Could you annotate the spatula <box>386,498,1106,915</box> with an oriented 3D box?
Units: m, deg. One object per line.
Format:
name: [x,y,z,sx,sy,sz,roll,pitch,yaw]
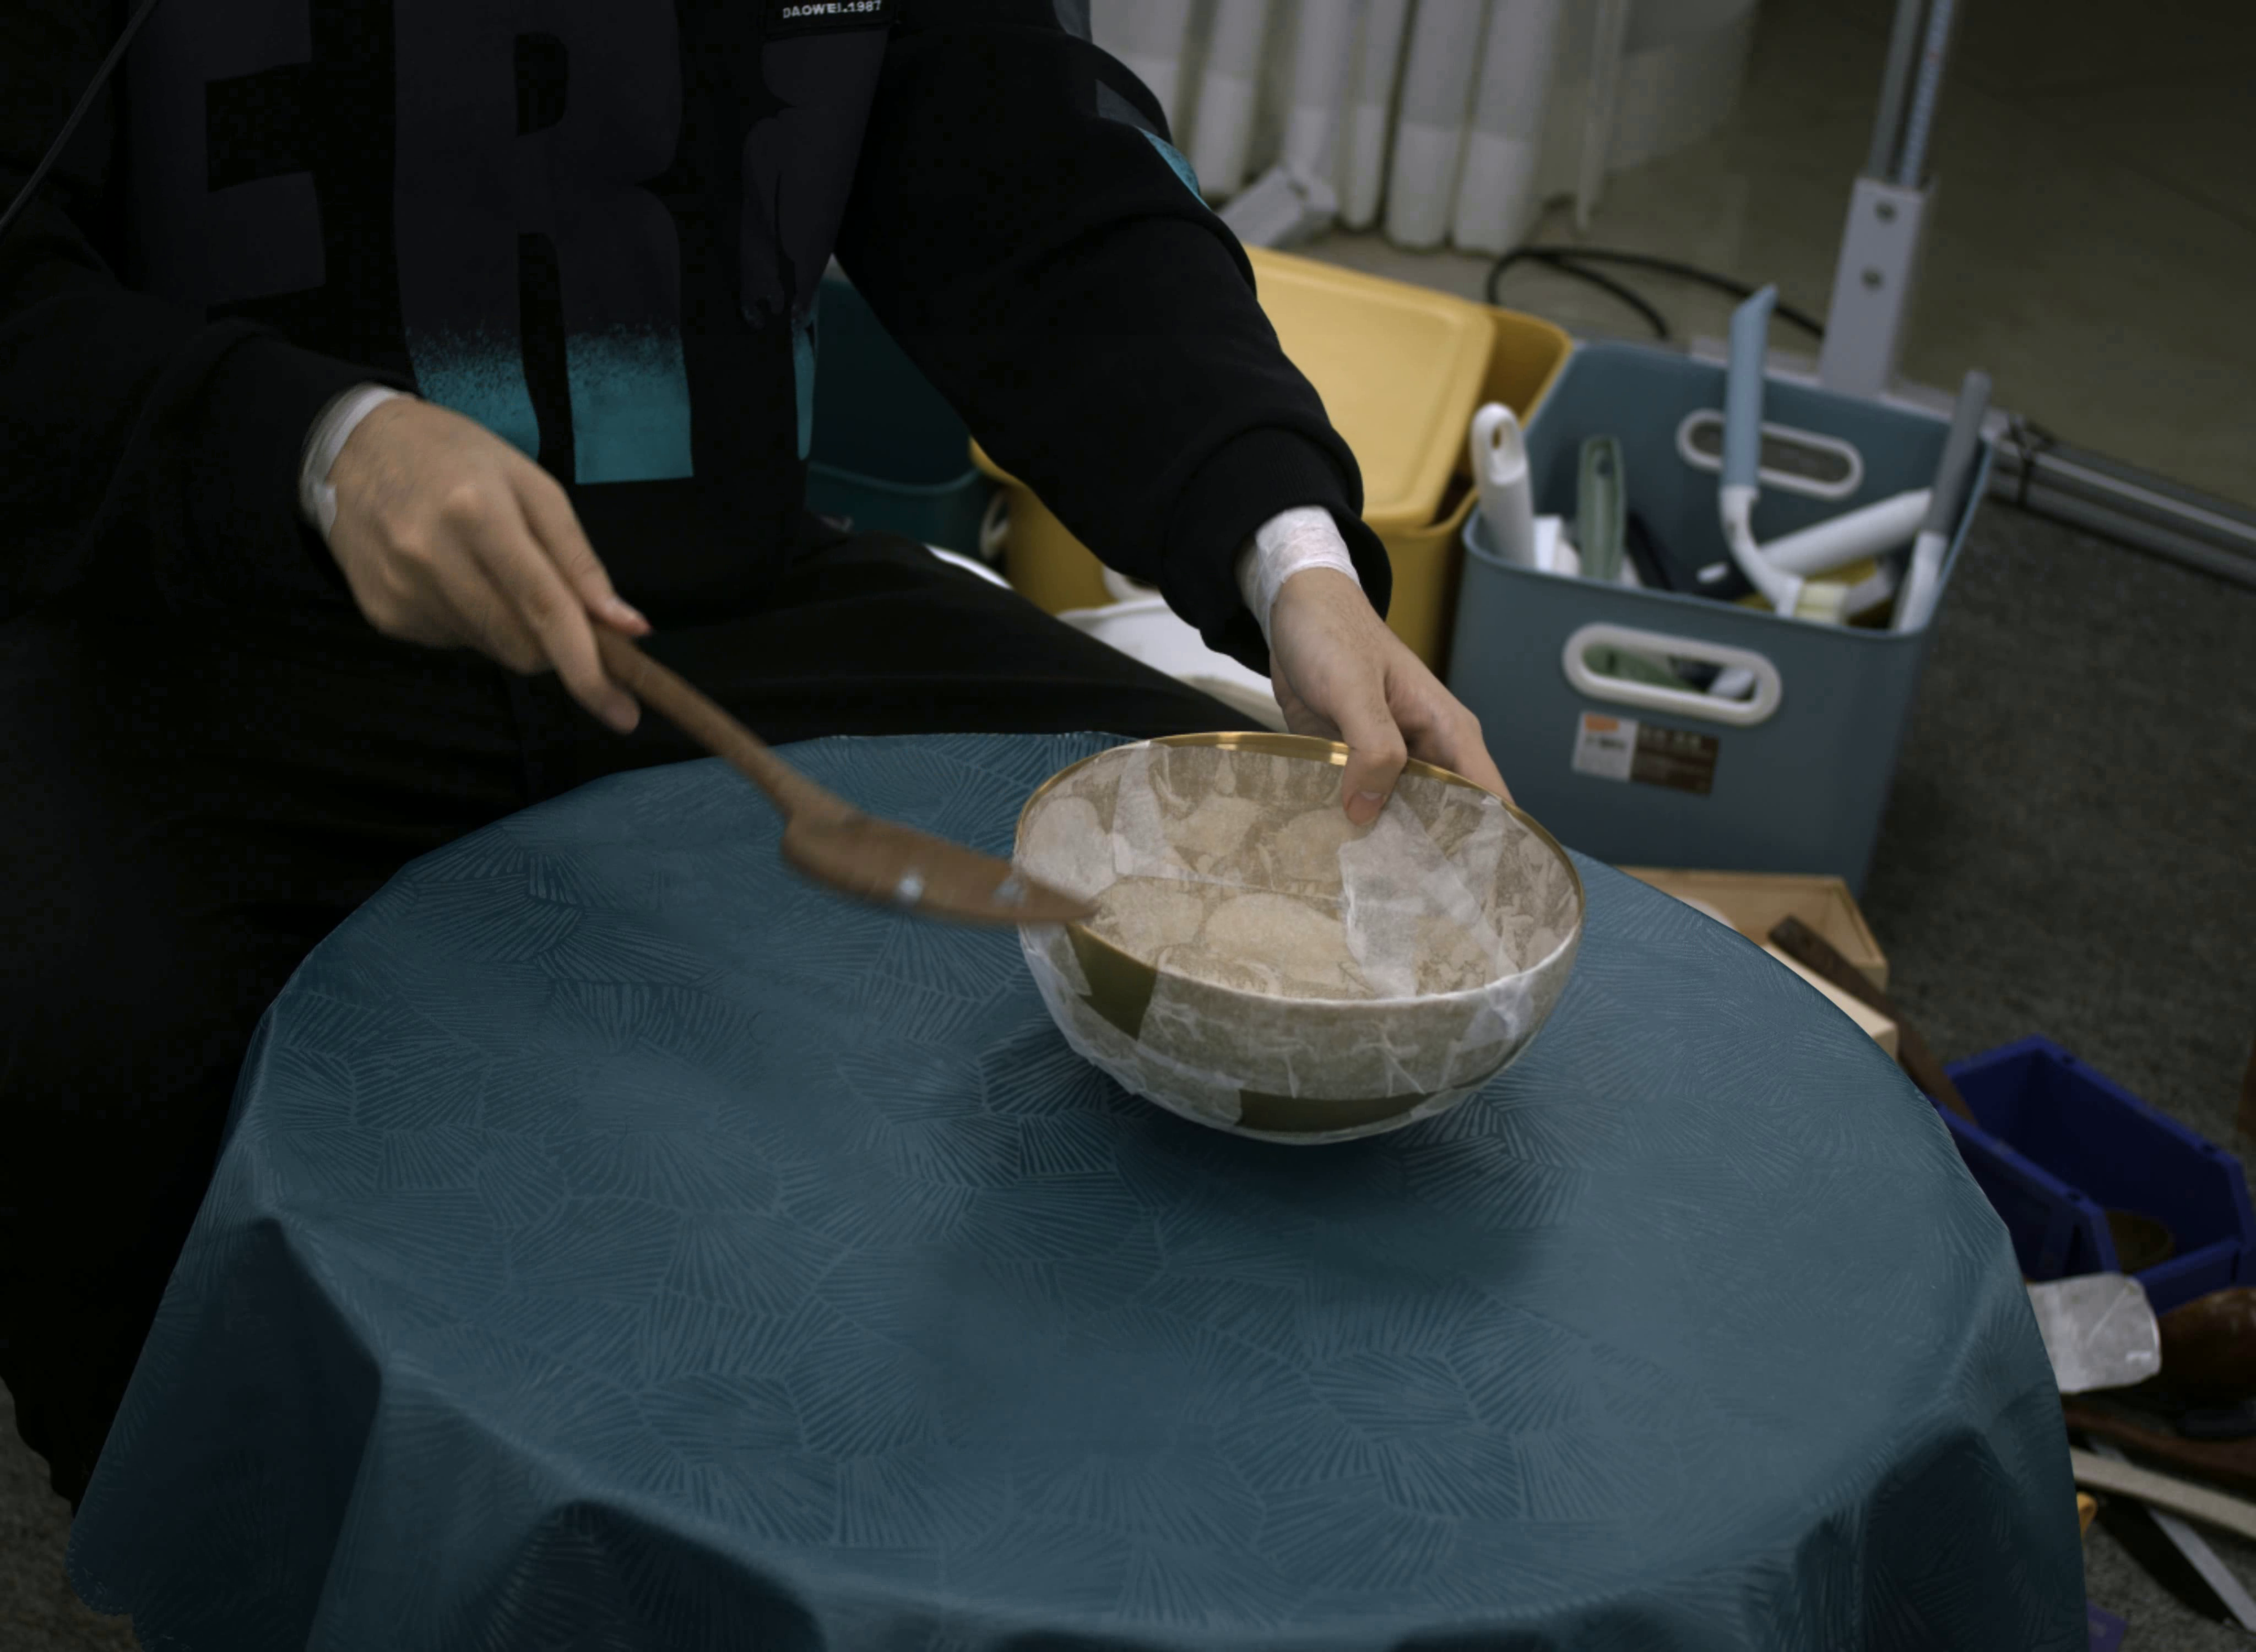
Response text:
spatula: [-0.148,-0.045,1.787,0.095,0.016,0.389,6,18,-41]

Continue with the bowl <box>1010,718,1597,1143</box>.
bowl: [0.057,0.049,1.855,0.214,0.094,0.216,4,26,-2]
